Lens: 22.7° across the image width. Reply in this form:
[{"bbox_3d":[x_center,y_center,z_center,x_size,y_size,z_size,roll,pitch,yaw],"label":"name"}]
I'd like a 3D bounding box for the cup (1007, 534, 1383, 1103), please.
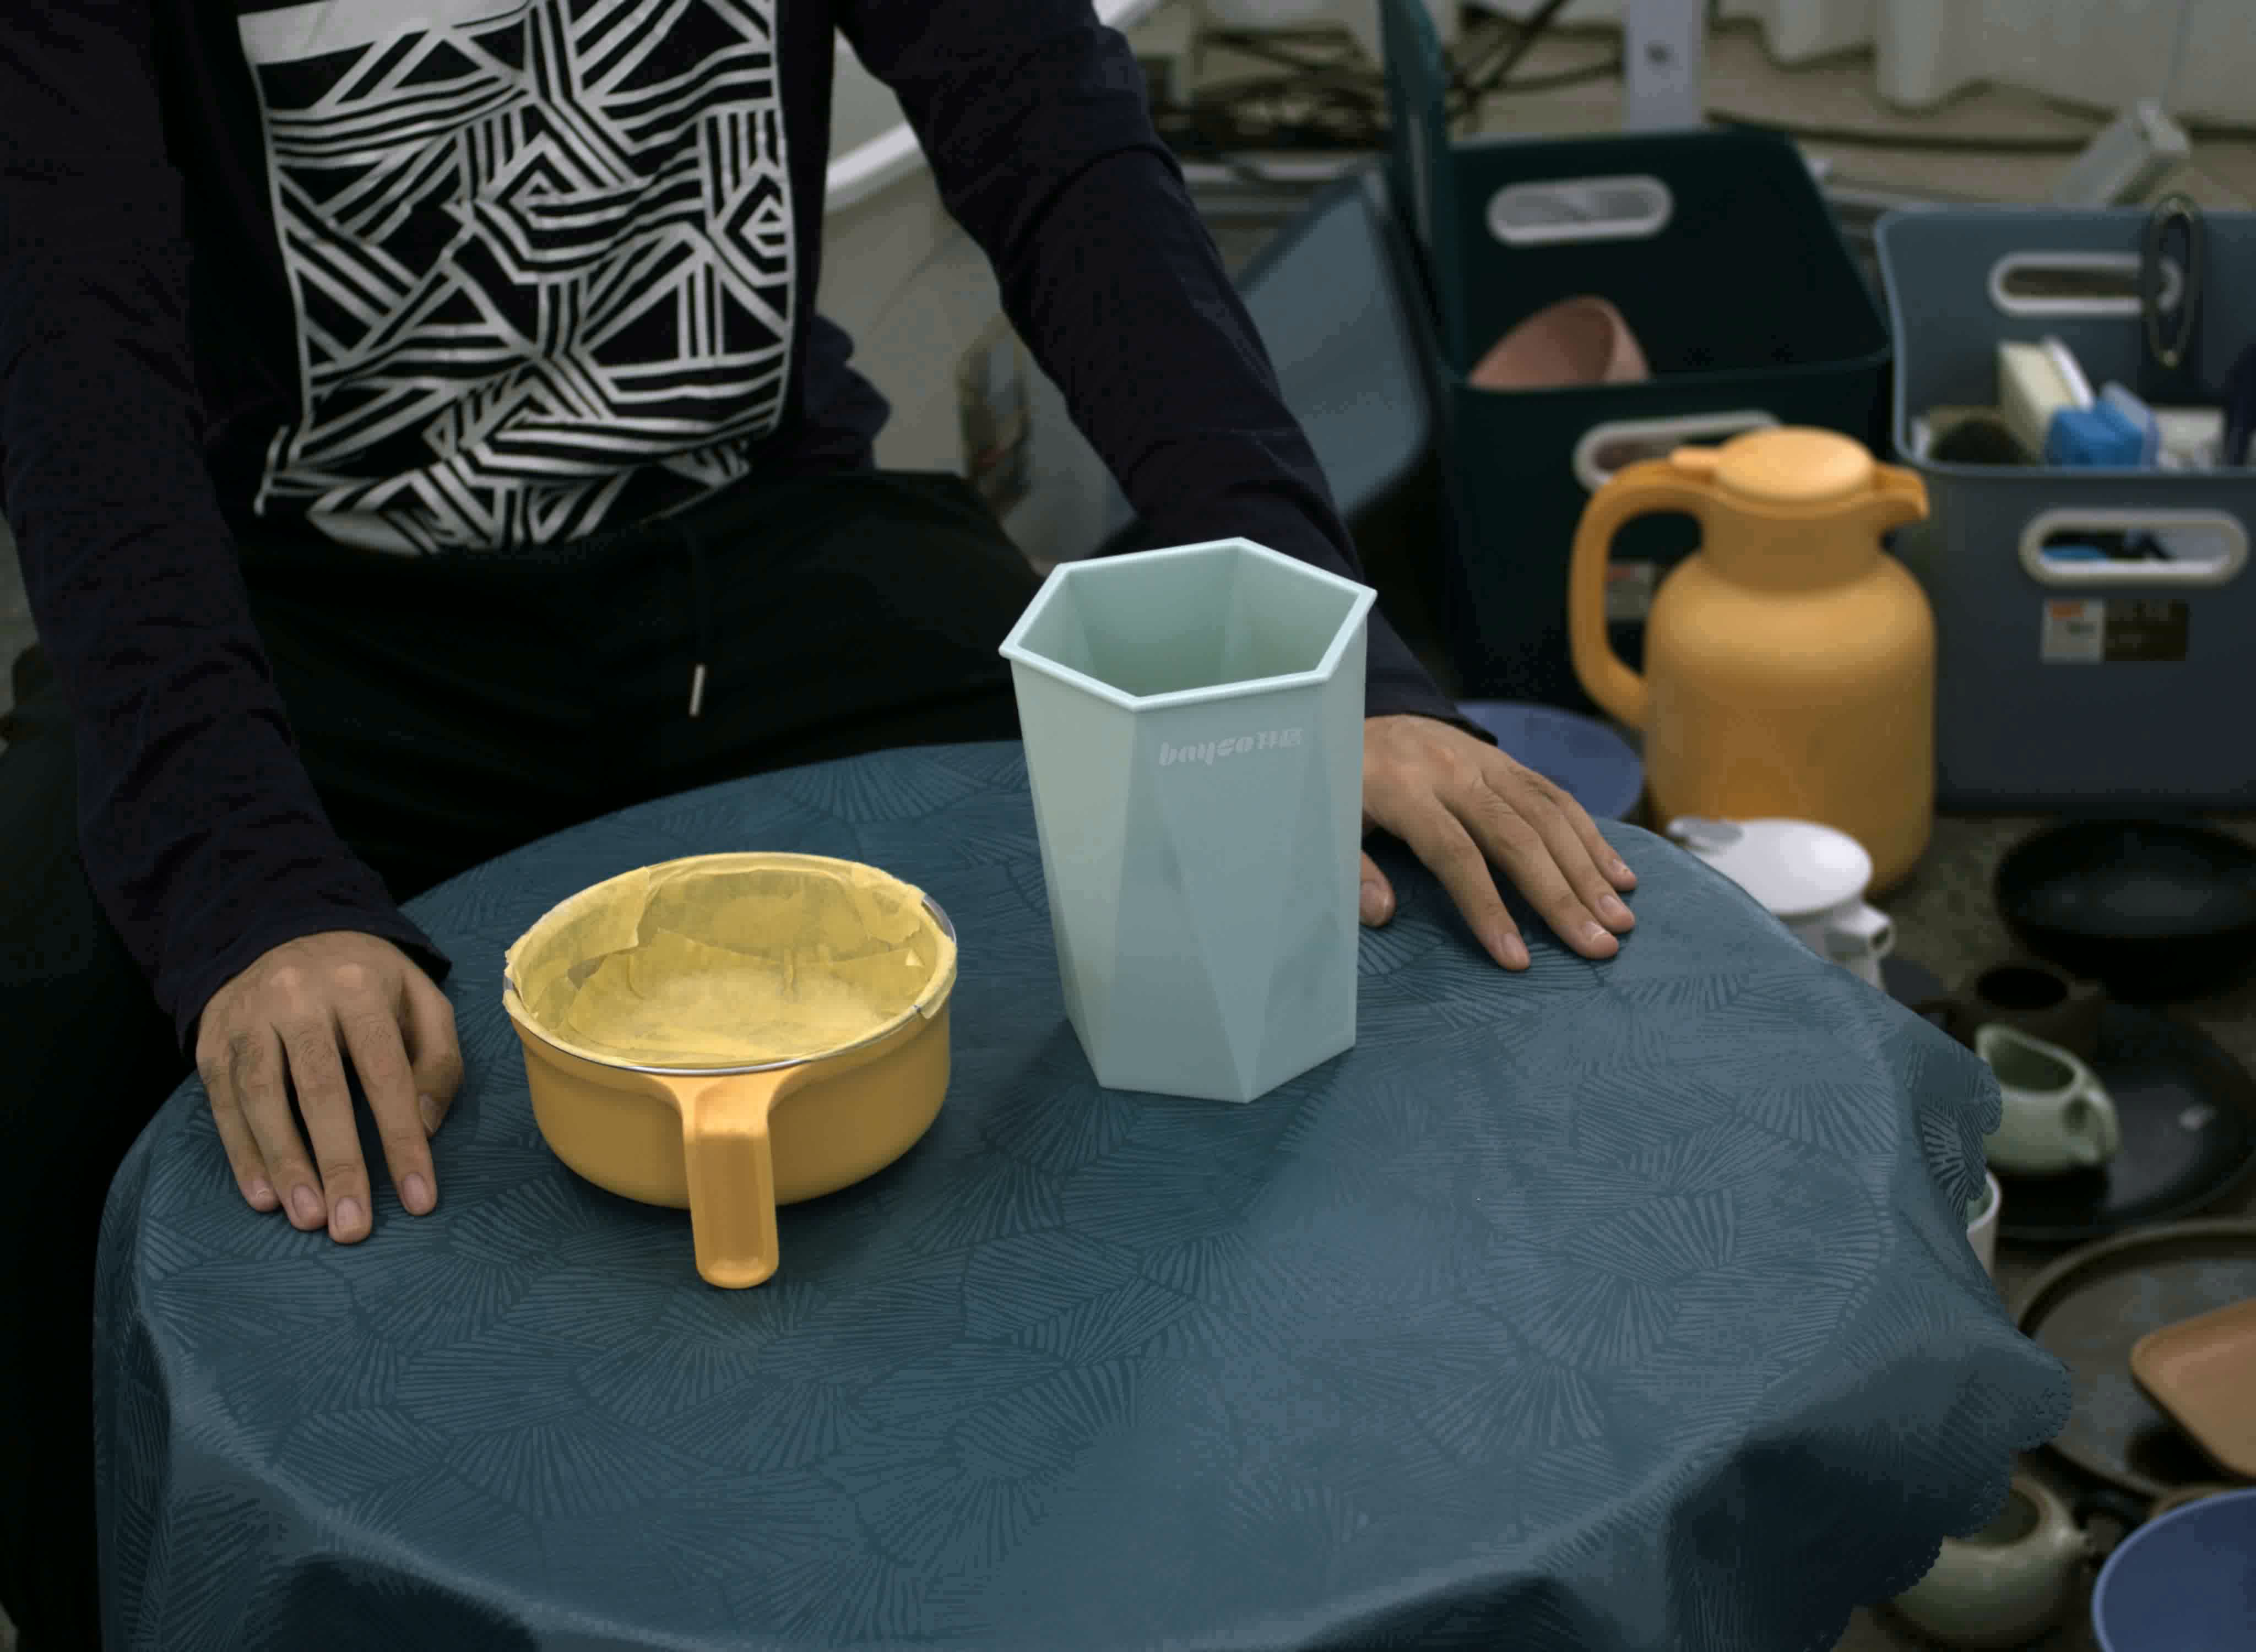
[{"bbox_3d":[0.027,0.000,1.917,0.131,0.161,0.116,-9,26,-12],"label":"cup"}]

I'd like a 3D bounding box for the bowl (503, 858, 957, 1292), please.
[{"bbox_3d":[-0.131,0.081,1.880,0.152,0.073,0.181,-5,25,-4],"label":"bowl"}]
